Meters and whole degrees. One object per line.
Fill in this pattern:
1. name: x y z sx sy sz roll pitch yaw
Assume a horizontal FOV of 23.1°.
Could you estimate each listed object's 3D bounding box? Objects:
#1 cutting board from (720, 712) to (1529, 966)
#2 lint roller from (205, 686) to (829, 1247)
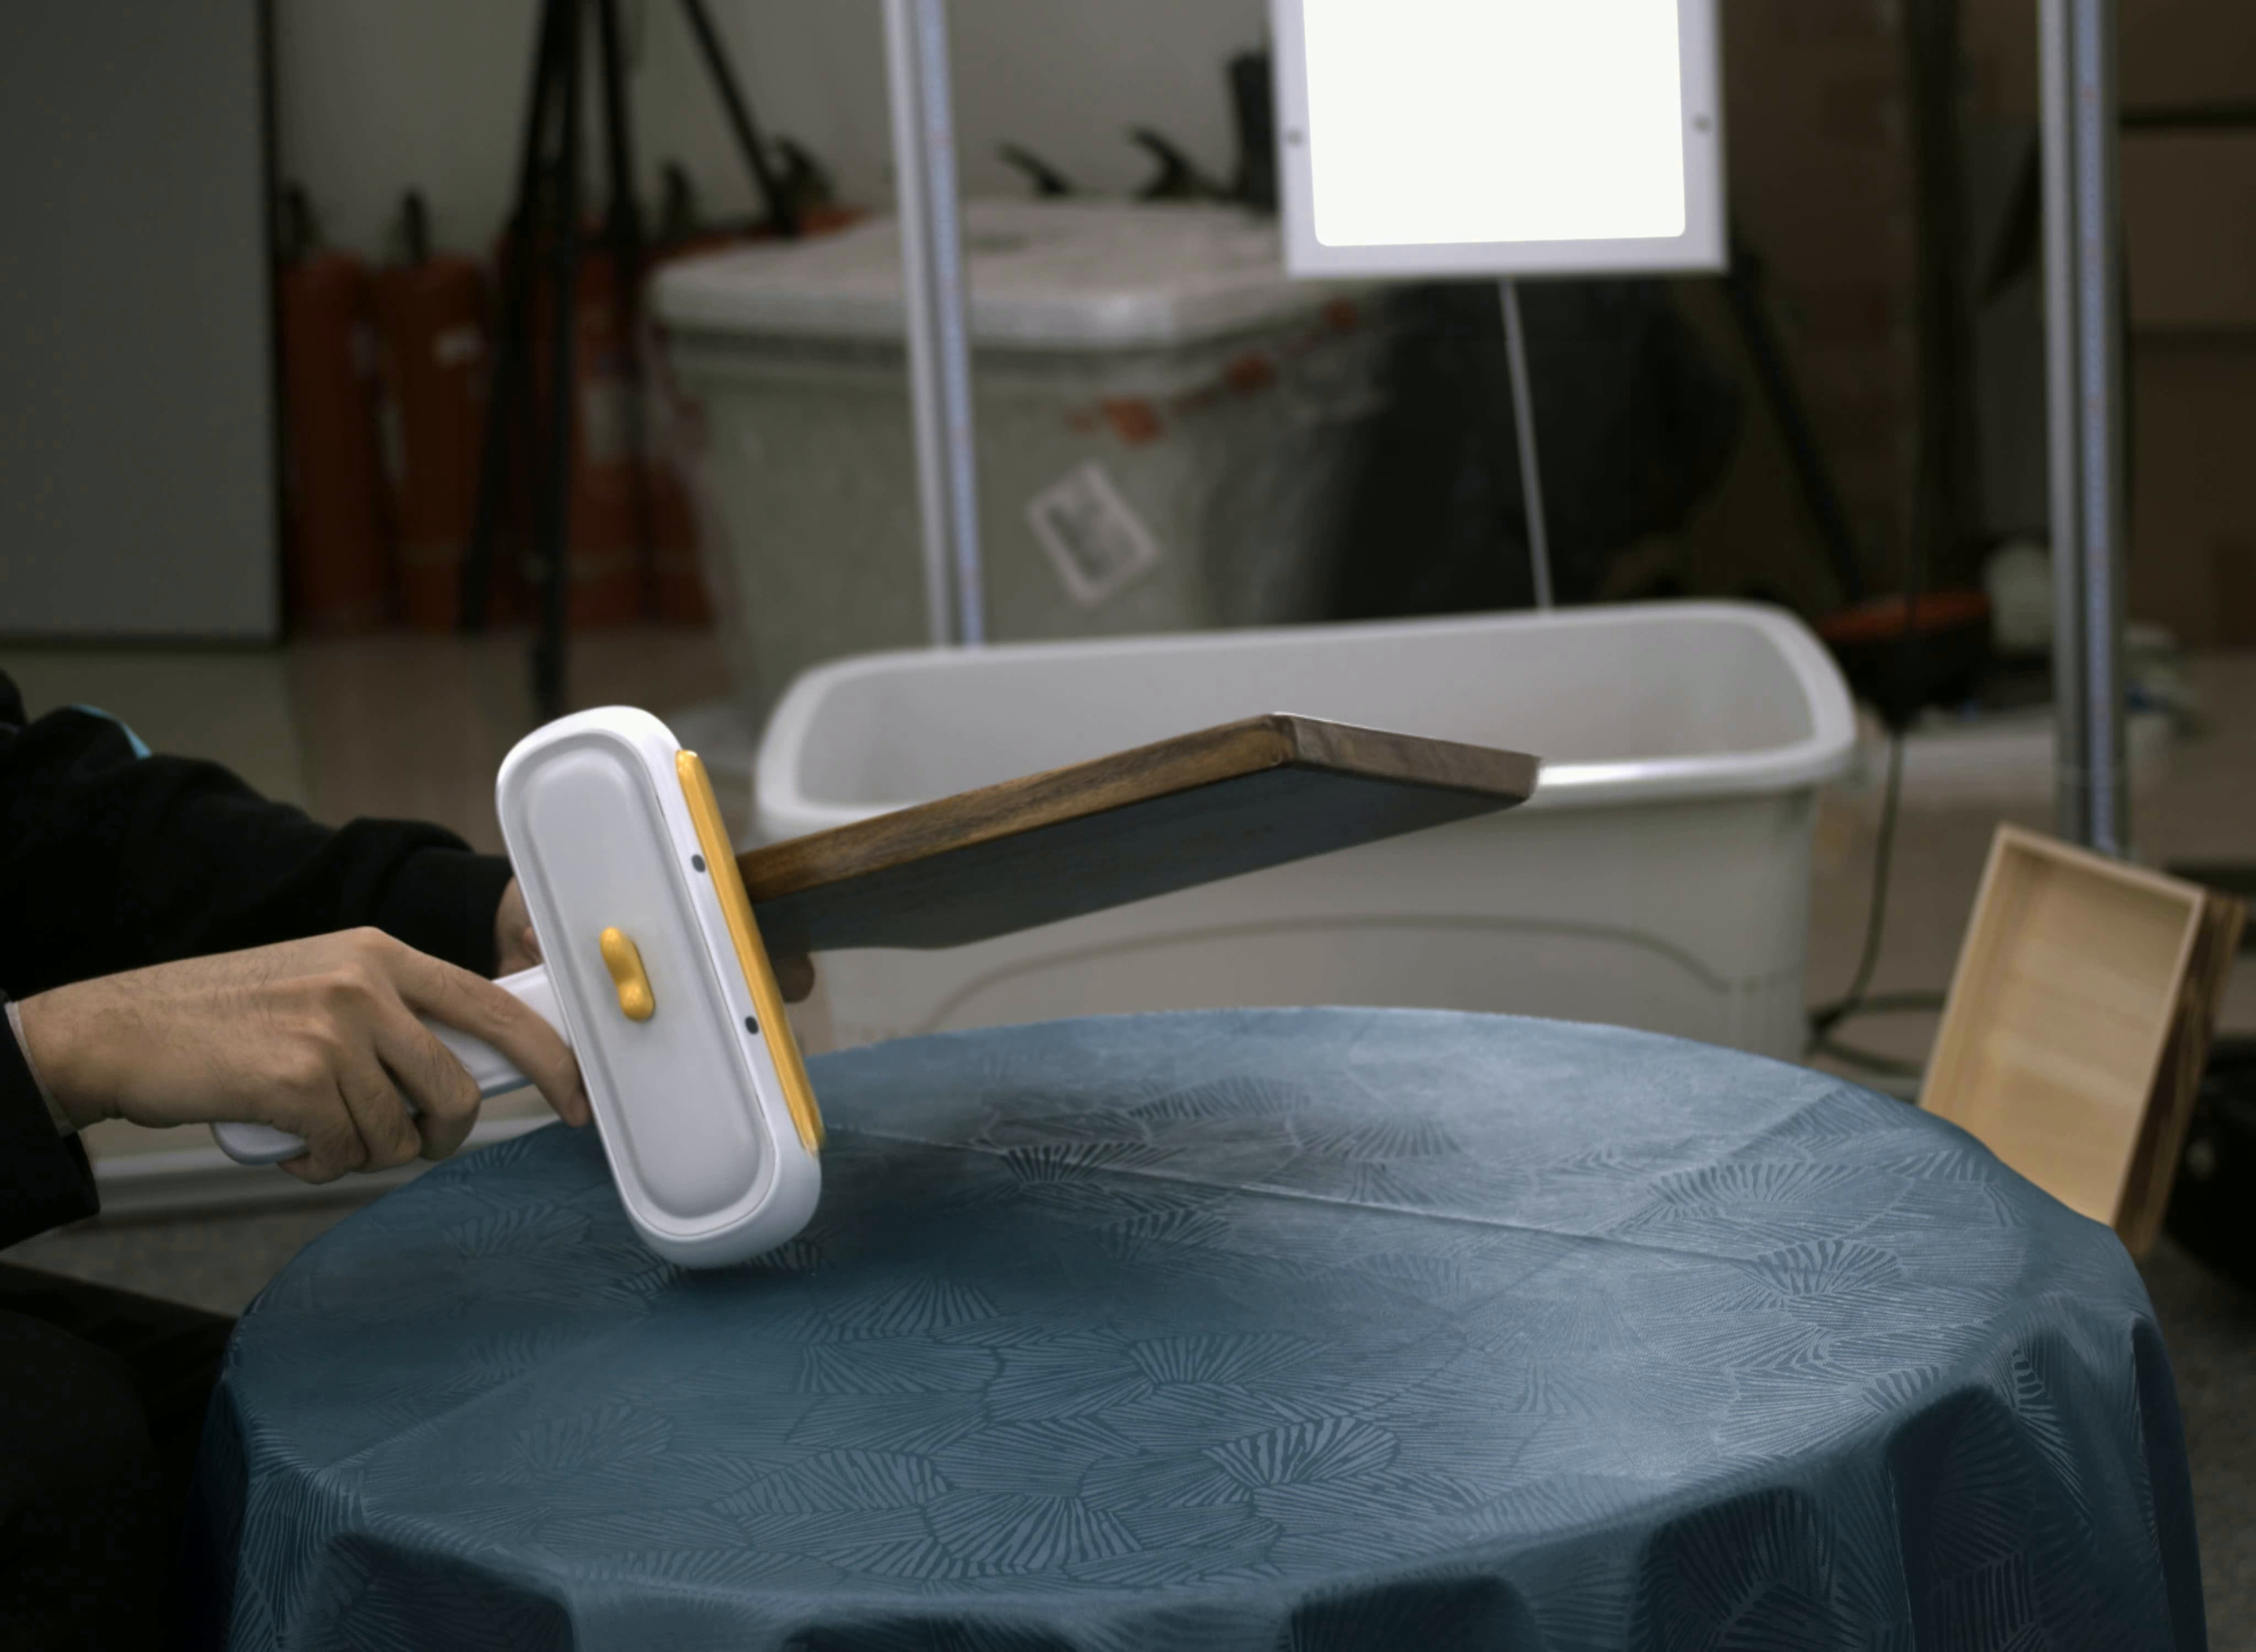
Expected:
1. cutting board: -0.052 0.017 1.925 0.359 0.023 0.197 -15 -10 29
2. lint roller: -0.214 0.069 1.839 0.192 0.193 0.074 -23 -4 2
